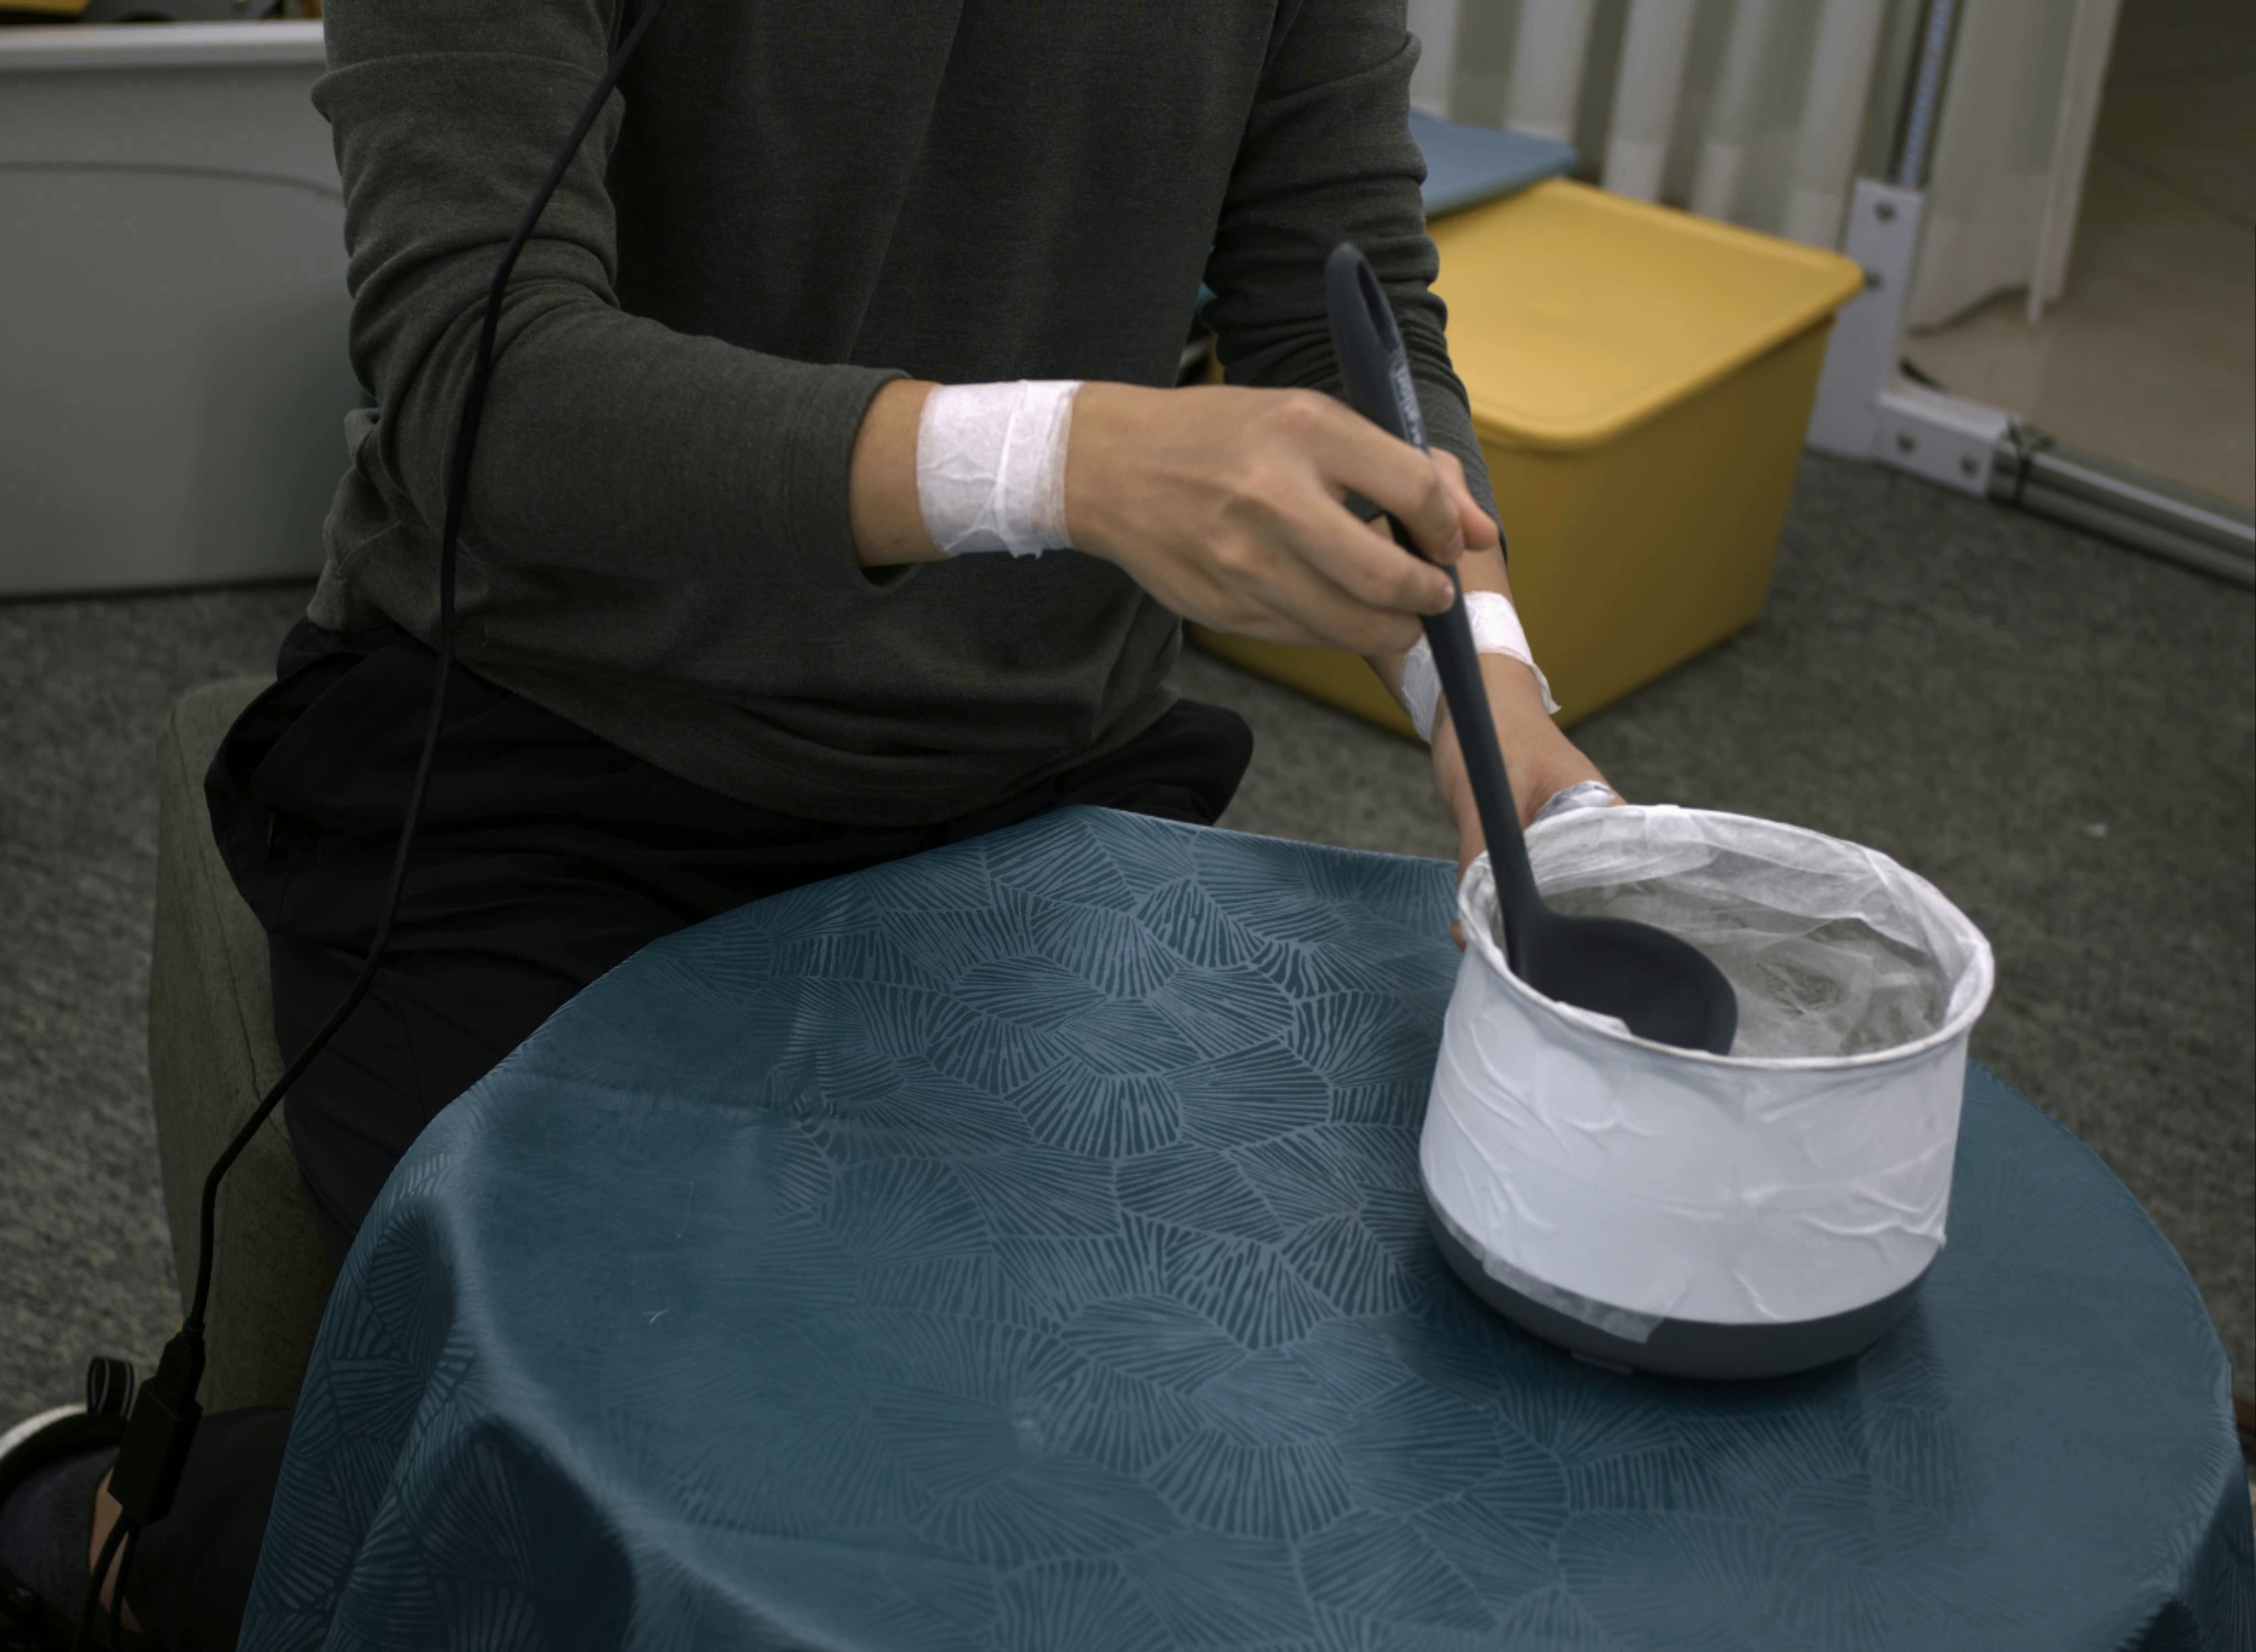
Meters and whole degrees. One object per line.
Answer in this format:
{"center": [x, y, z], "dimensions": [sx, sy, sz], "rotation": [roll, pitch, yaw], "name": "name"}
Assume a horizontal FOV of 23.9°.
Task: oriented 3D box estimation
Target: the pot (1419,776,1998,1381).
{"center": [0.178, 0.077, 1.786], "dimensions": [0.177, 0.136, 0.236], "rotation": [-5, 29, -23], "name": "pot"}

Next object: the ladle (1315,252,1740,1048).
{"center": [0.127, -0.045, 1.704], "dimensions": [0.064, 0.312, 0.086], "rotation": [-5, 29, 26], "name": "ladle"}
